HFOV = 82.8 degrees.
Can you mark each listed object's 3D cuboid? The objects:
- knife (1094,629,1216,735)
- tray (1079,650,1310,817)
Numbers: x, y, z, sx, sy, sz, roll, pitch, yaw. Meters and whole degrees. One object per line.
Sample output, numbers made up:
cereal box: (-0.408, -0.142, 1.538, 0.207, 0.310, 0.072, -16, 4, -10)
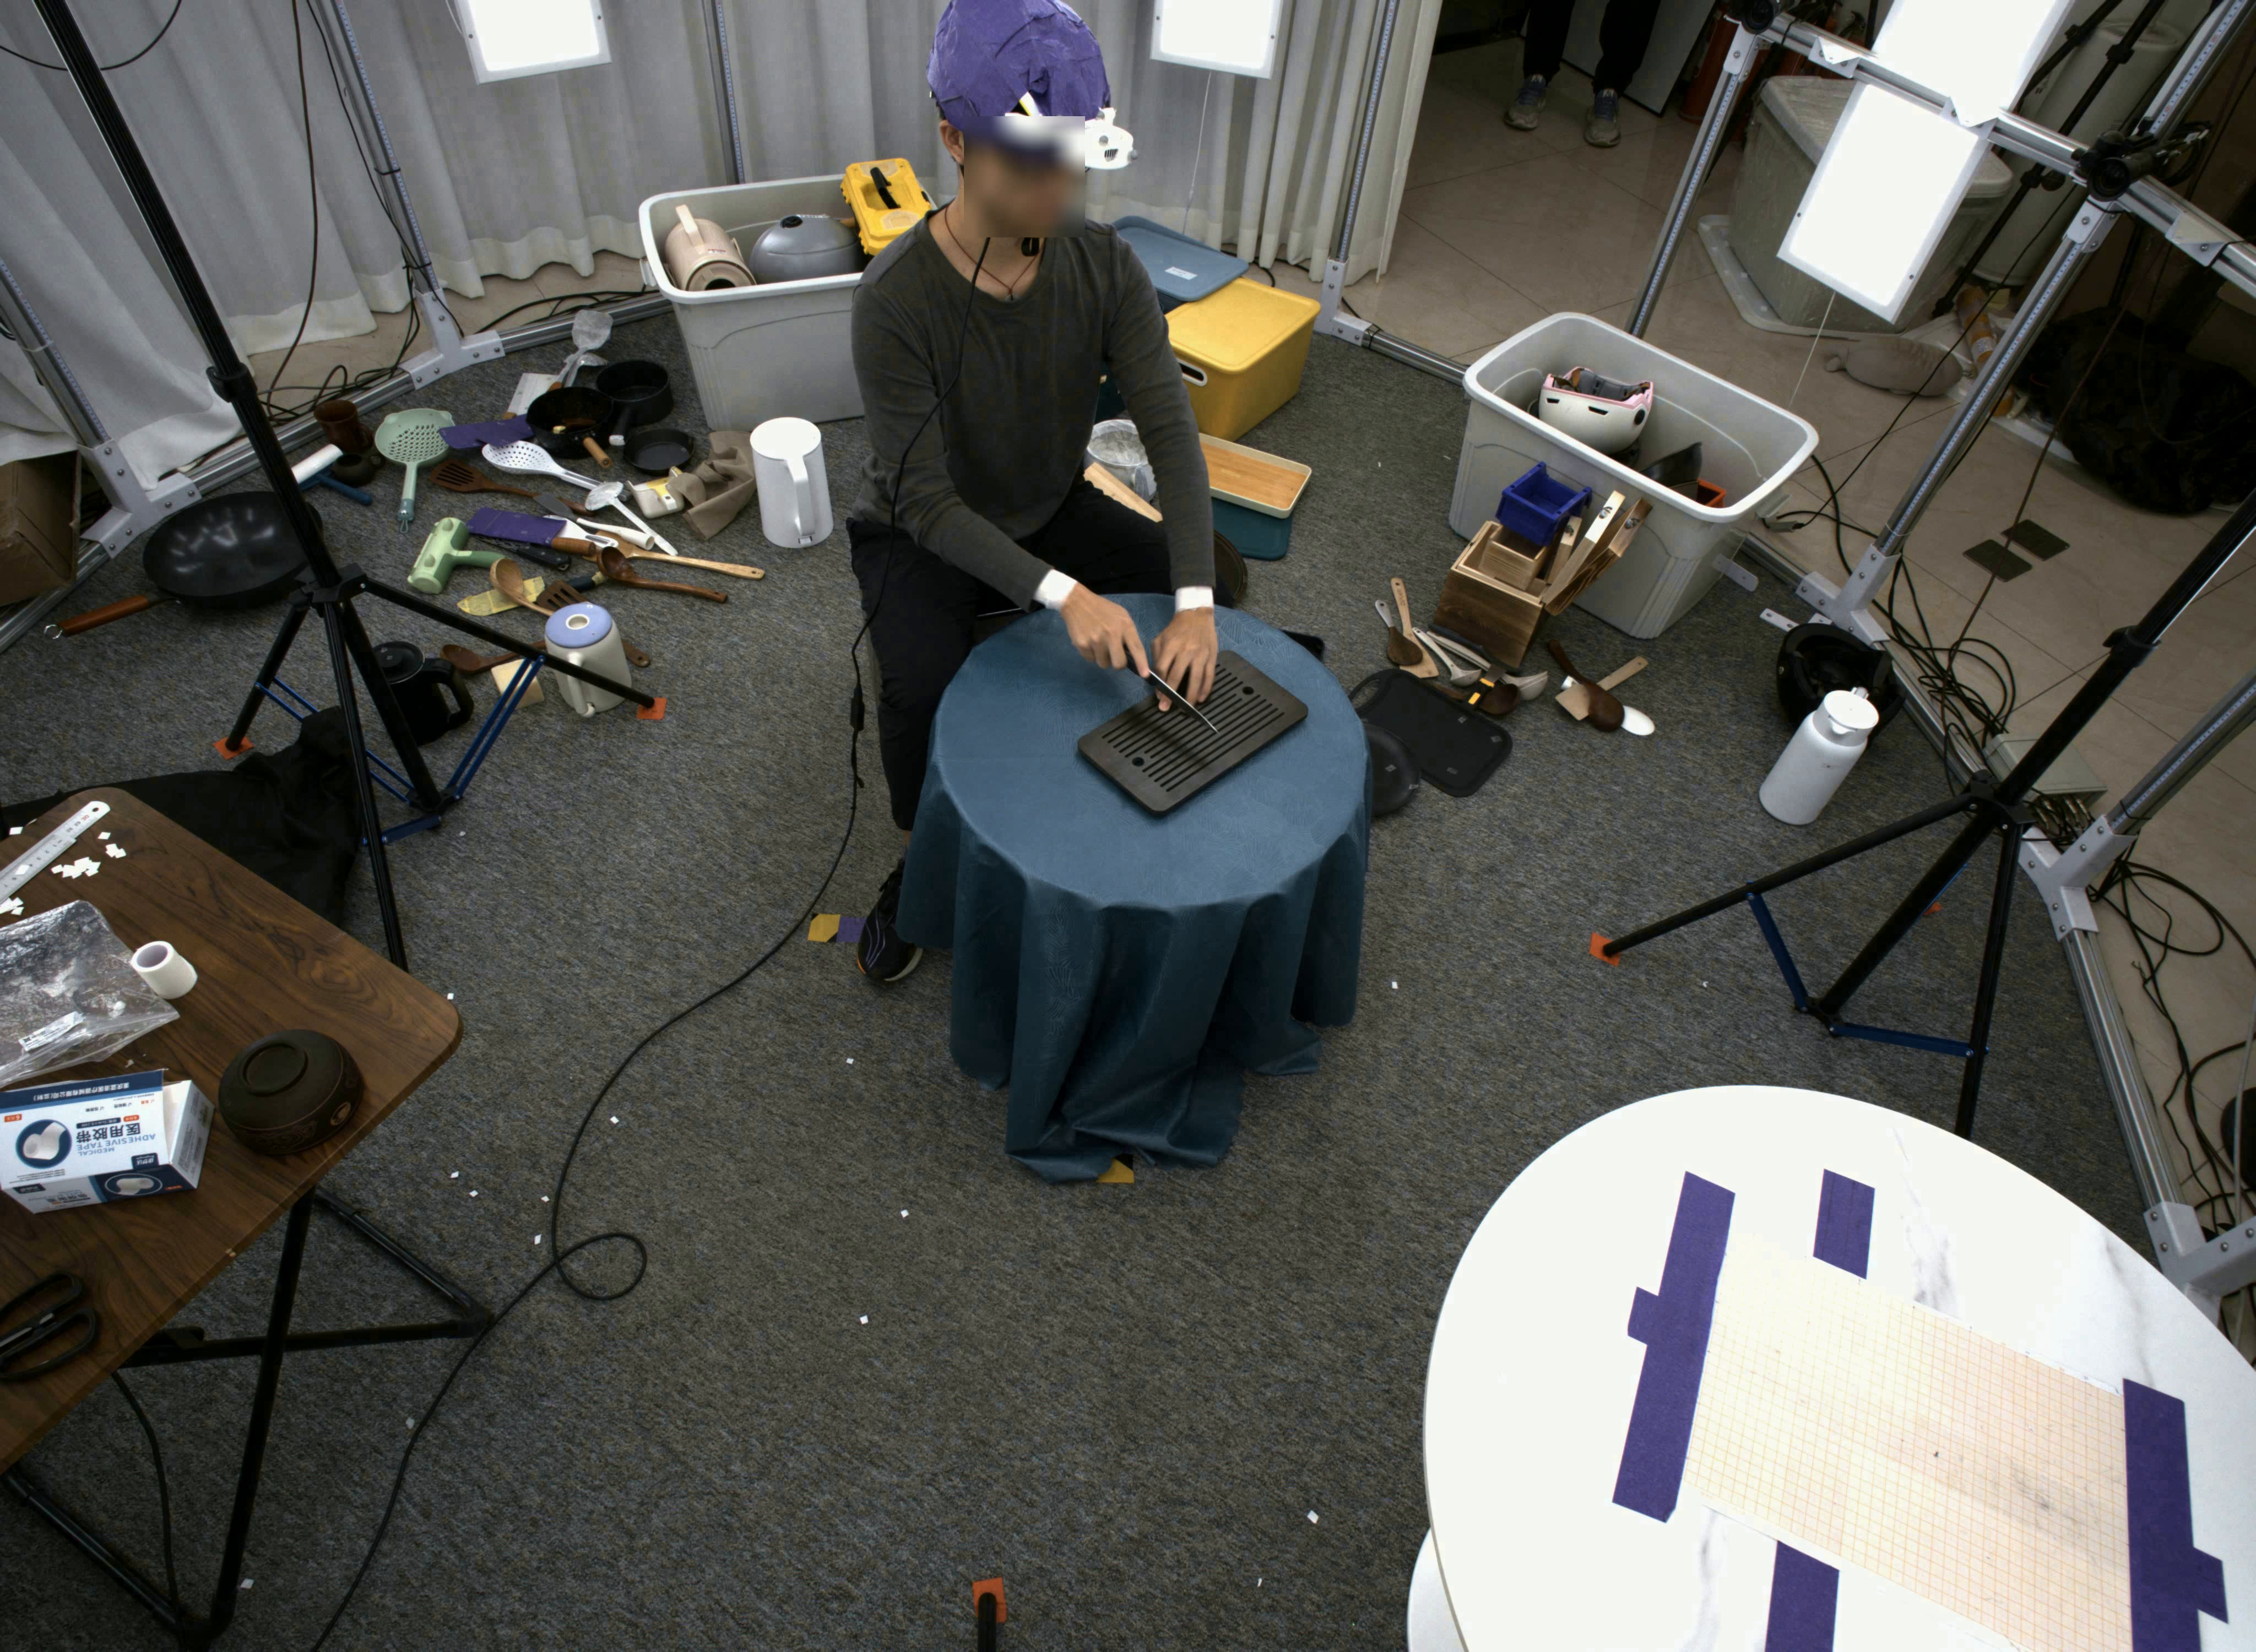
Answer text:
knife: (0.037, -0.200, 1.758, 0.016, 0.024, 0.241, -32, 62, -31)
tray: (0.094, -0.132, 1.777, 0.308, 0.018, 0.173, -34, 58, -29)
